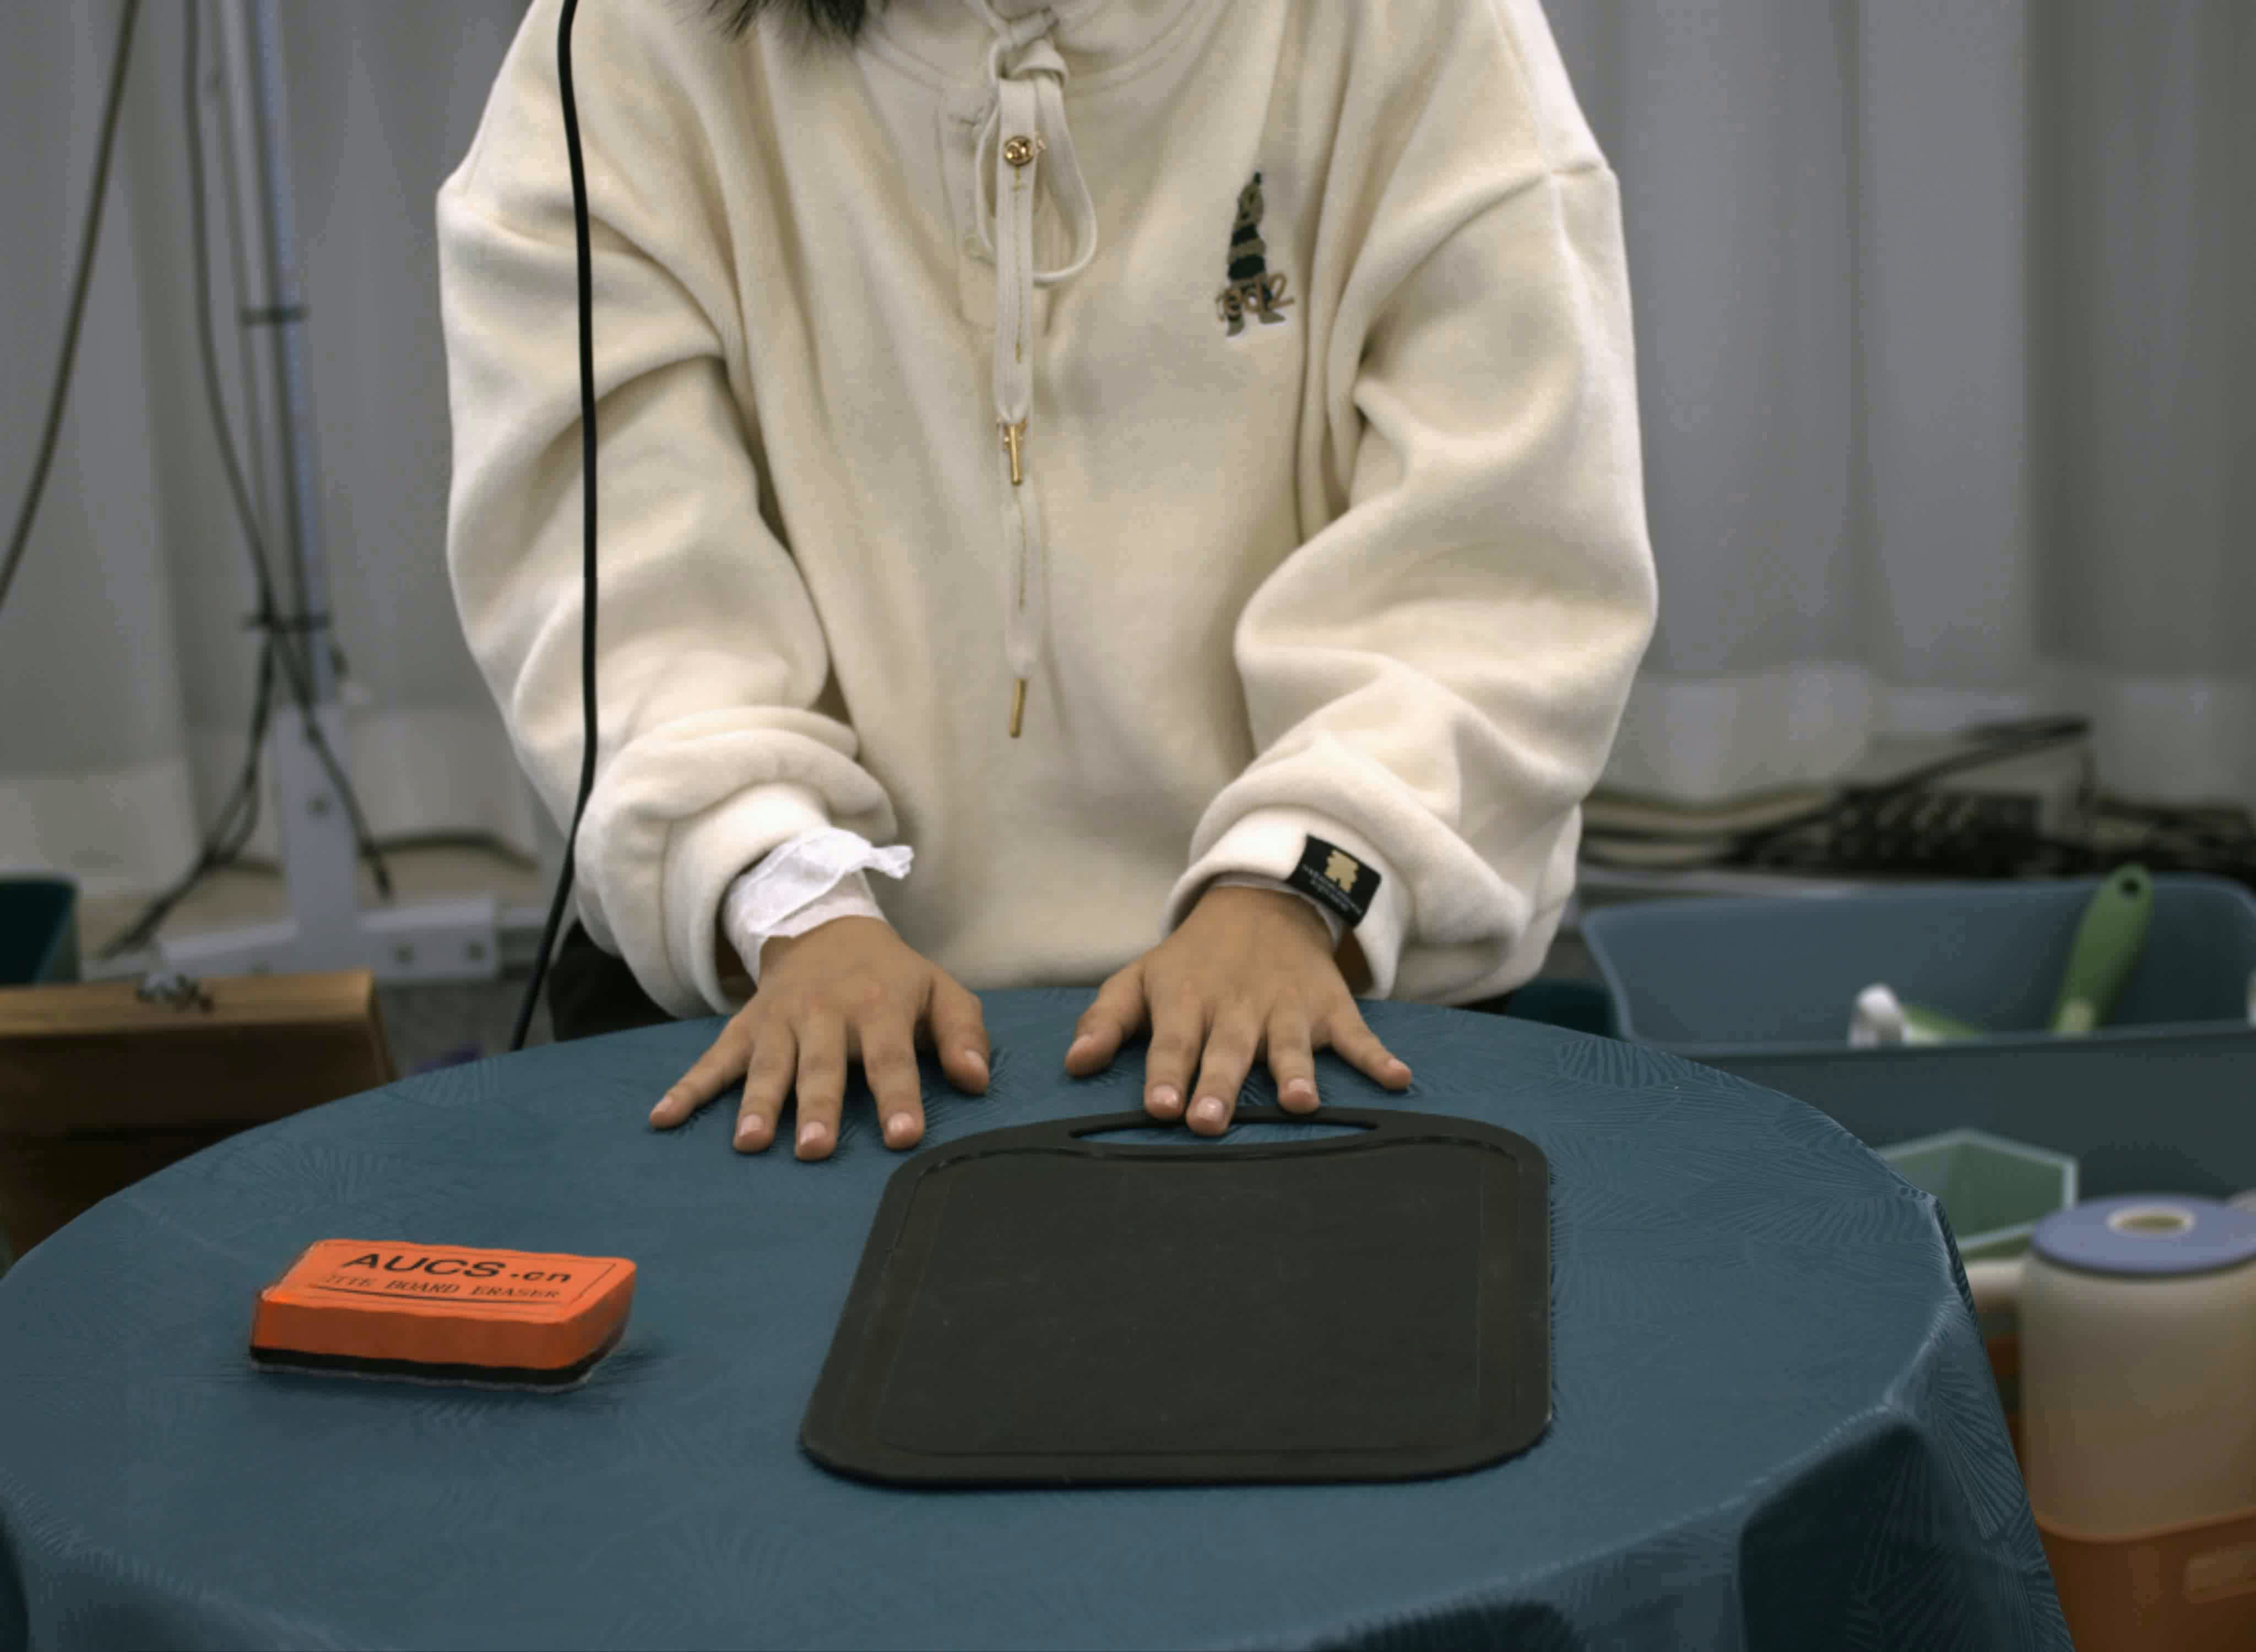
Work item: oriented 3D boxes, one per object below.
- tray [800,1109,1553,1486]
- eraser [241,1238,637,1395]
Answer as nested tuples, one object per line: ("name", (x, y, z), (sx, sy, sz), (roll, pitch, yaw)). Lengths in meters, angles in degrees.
("tray", (0.021, 0.134, 1.626), (0.210, 0.010, 0.327), (-1, 15, 5))
("eraser", (-0.201, 0.143, 1.601), (0.108, 0.023, 0.059), (3, 16, 20))
